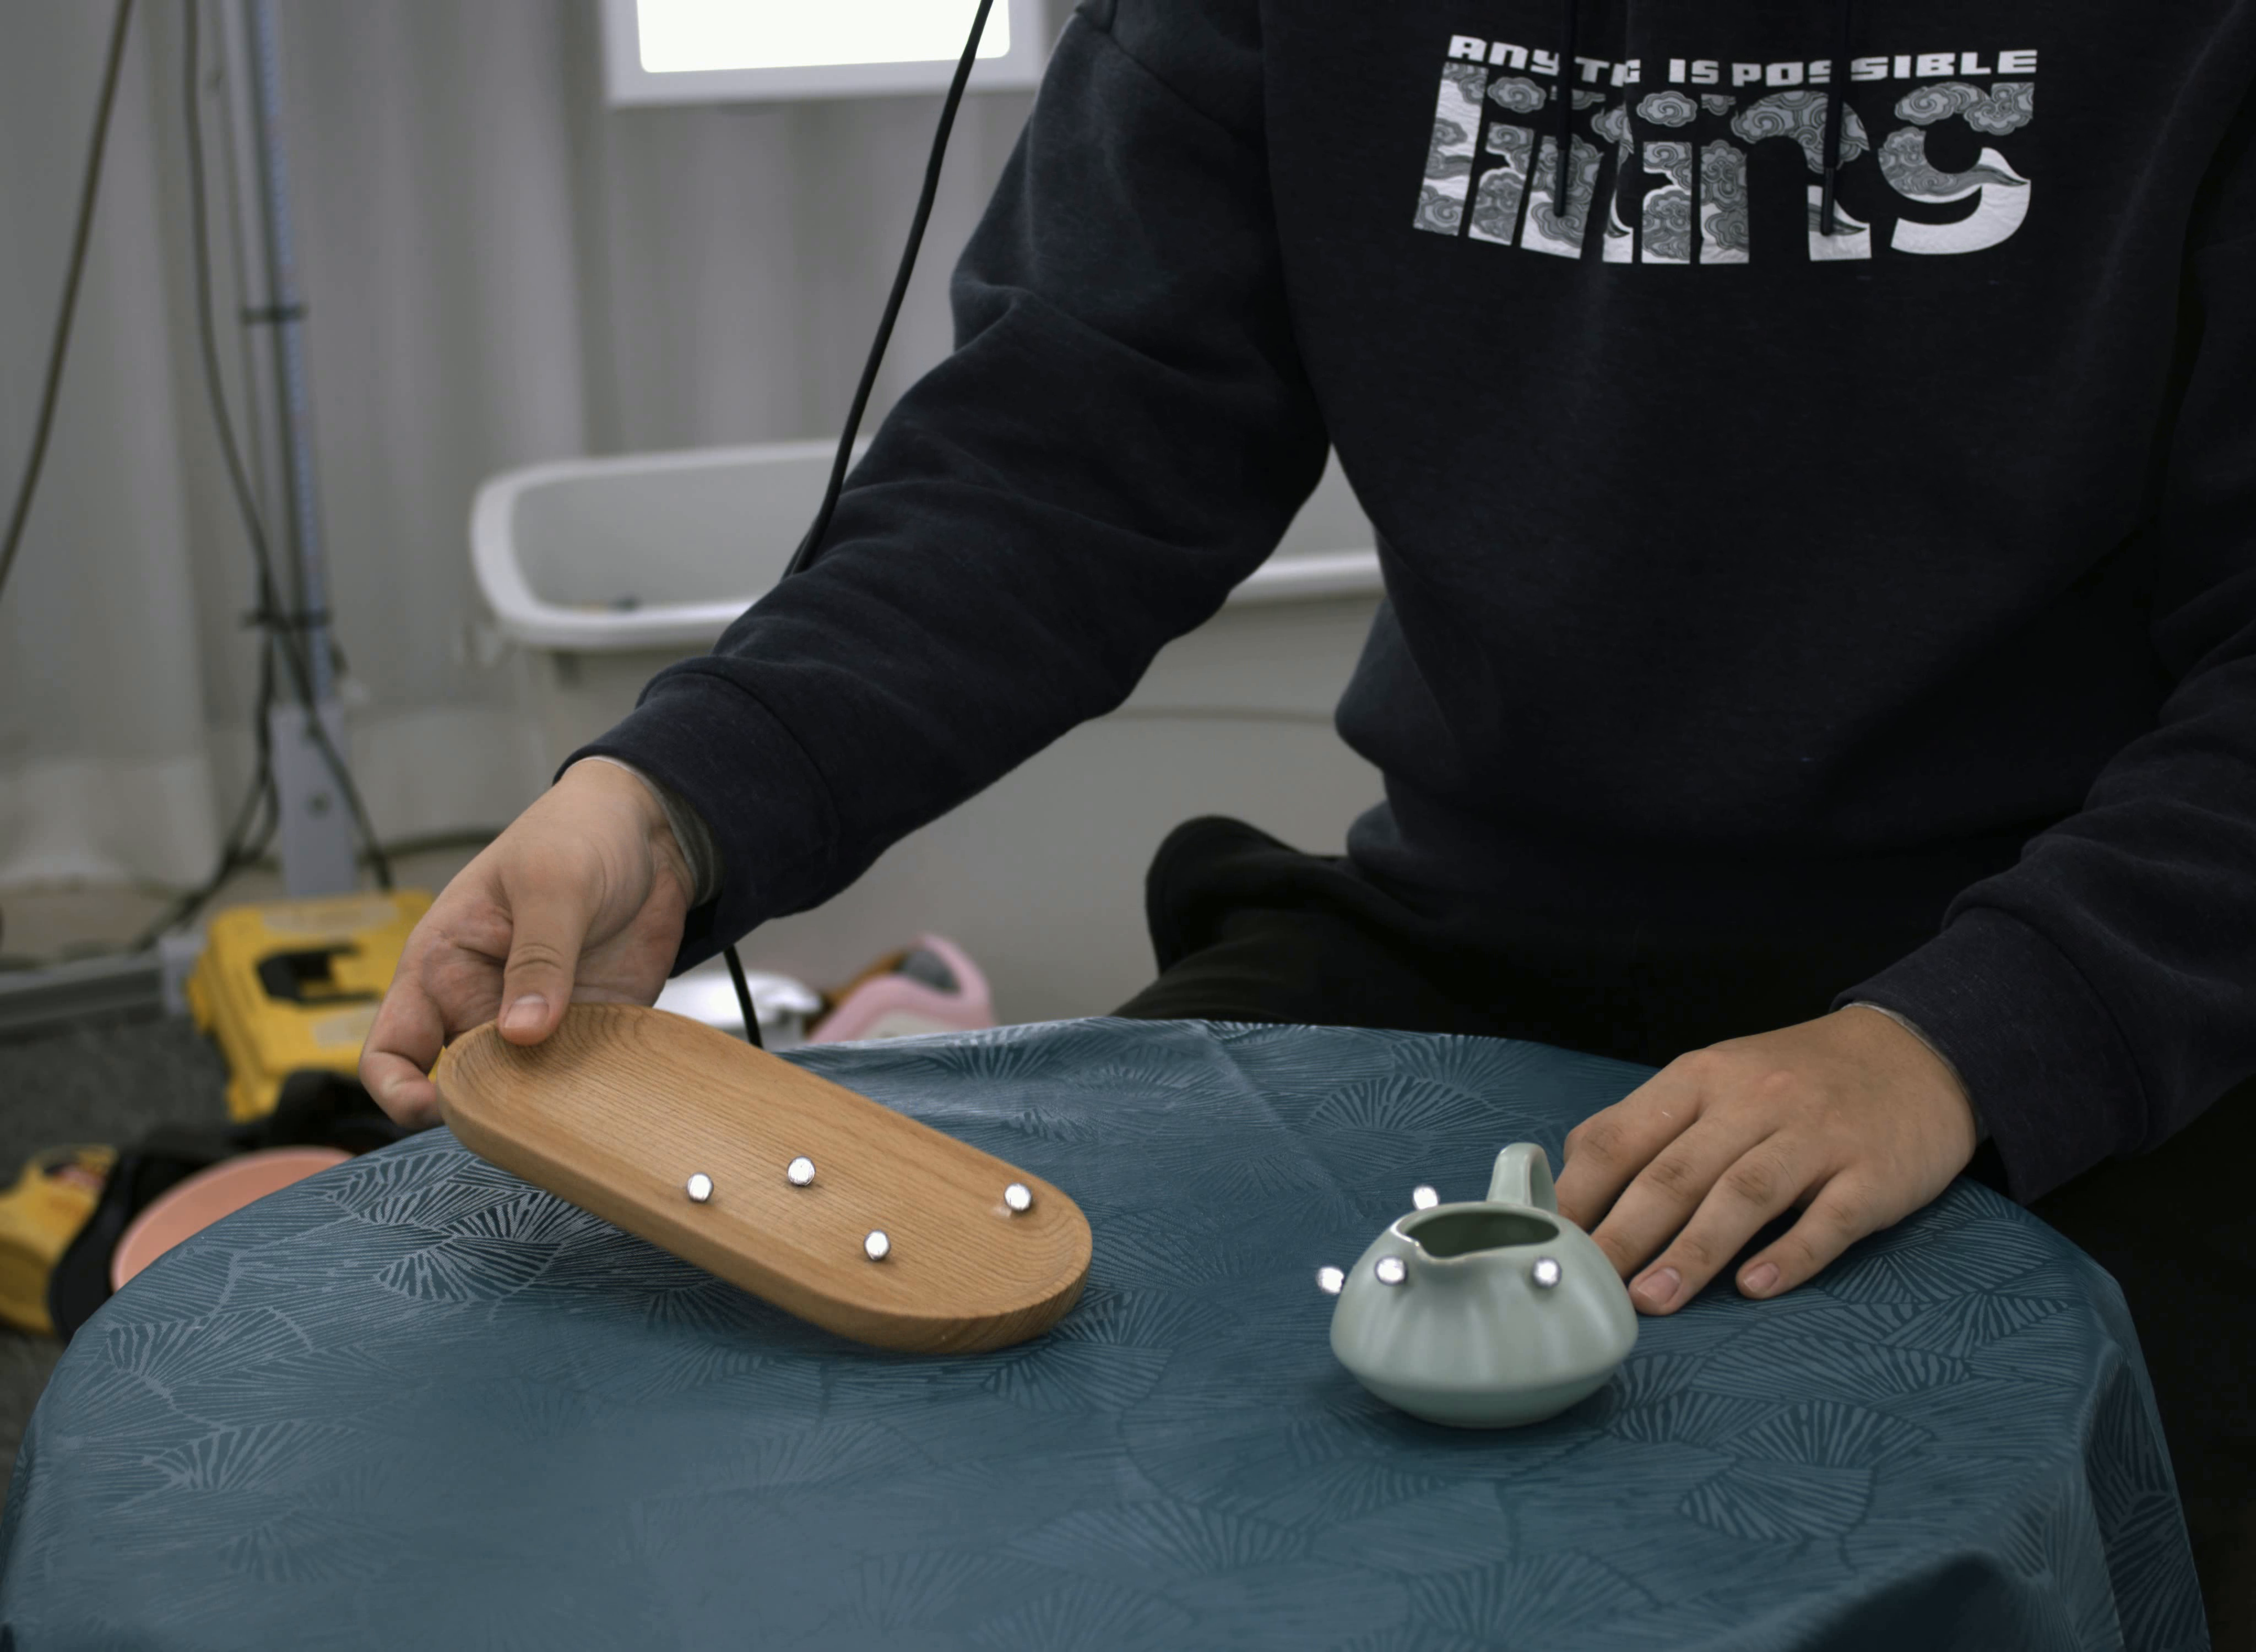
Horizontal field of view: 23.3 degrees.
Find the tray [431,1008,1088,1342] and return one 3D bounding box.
[{"bbox_3d":[-0.113,0.104,1.656,0.232,0.020,0.101,20,24,33],"label":"tray"}]

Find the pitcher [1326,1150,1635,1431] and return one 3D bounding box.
[{"bbox_3d":[0.101,0.131,1.533,0.086,0.060,0.108,3,13,16],"label":"pitcher"}]
